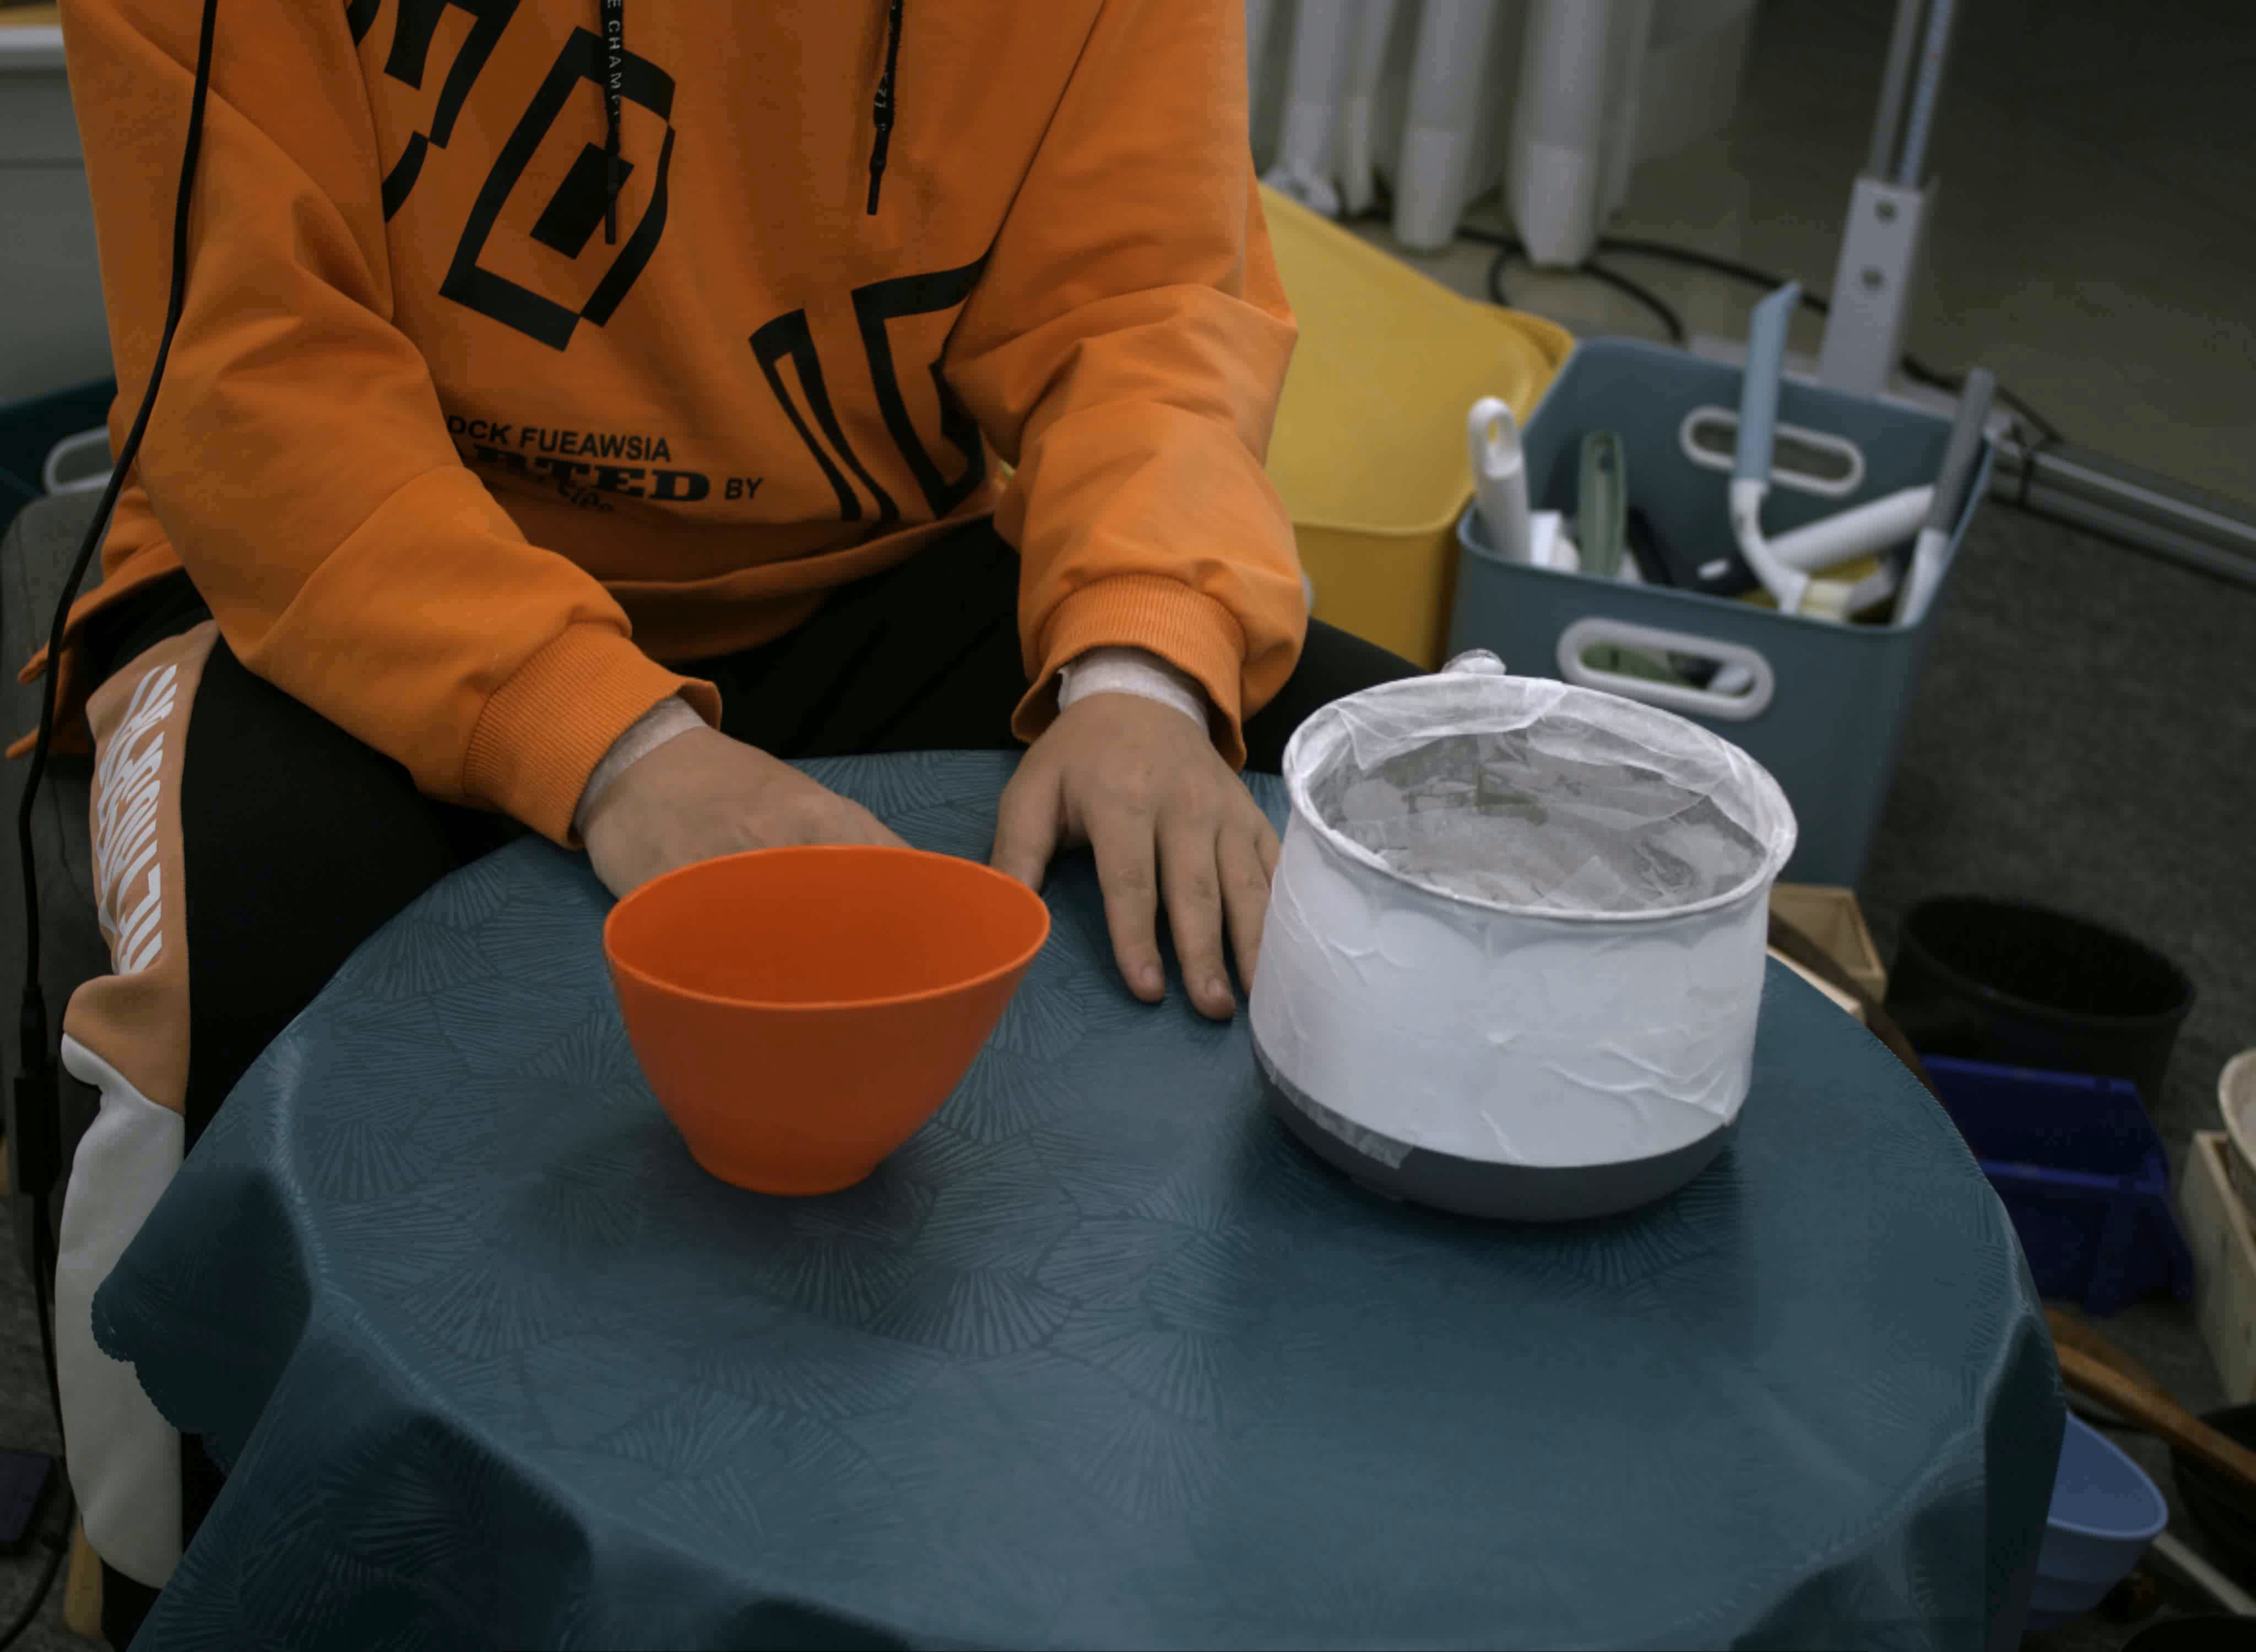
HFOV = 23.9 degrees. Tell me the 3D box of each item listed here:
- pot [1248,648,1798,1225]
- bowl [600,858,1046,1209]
[{"bbox_3d":[0.128,0.031,1.862,0.178,0.136,0.235,1,28,-12],"label":"pot"},{"bbox_3d":[-0.105,0.072,1.777,0.147,0.104,0.149,5,25,-3],"label":"bowl"}]
